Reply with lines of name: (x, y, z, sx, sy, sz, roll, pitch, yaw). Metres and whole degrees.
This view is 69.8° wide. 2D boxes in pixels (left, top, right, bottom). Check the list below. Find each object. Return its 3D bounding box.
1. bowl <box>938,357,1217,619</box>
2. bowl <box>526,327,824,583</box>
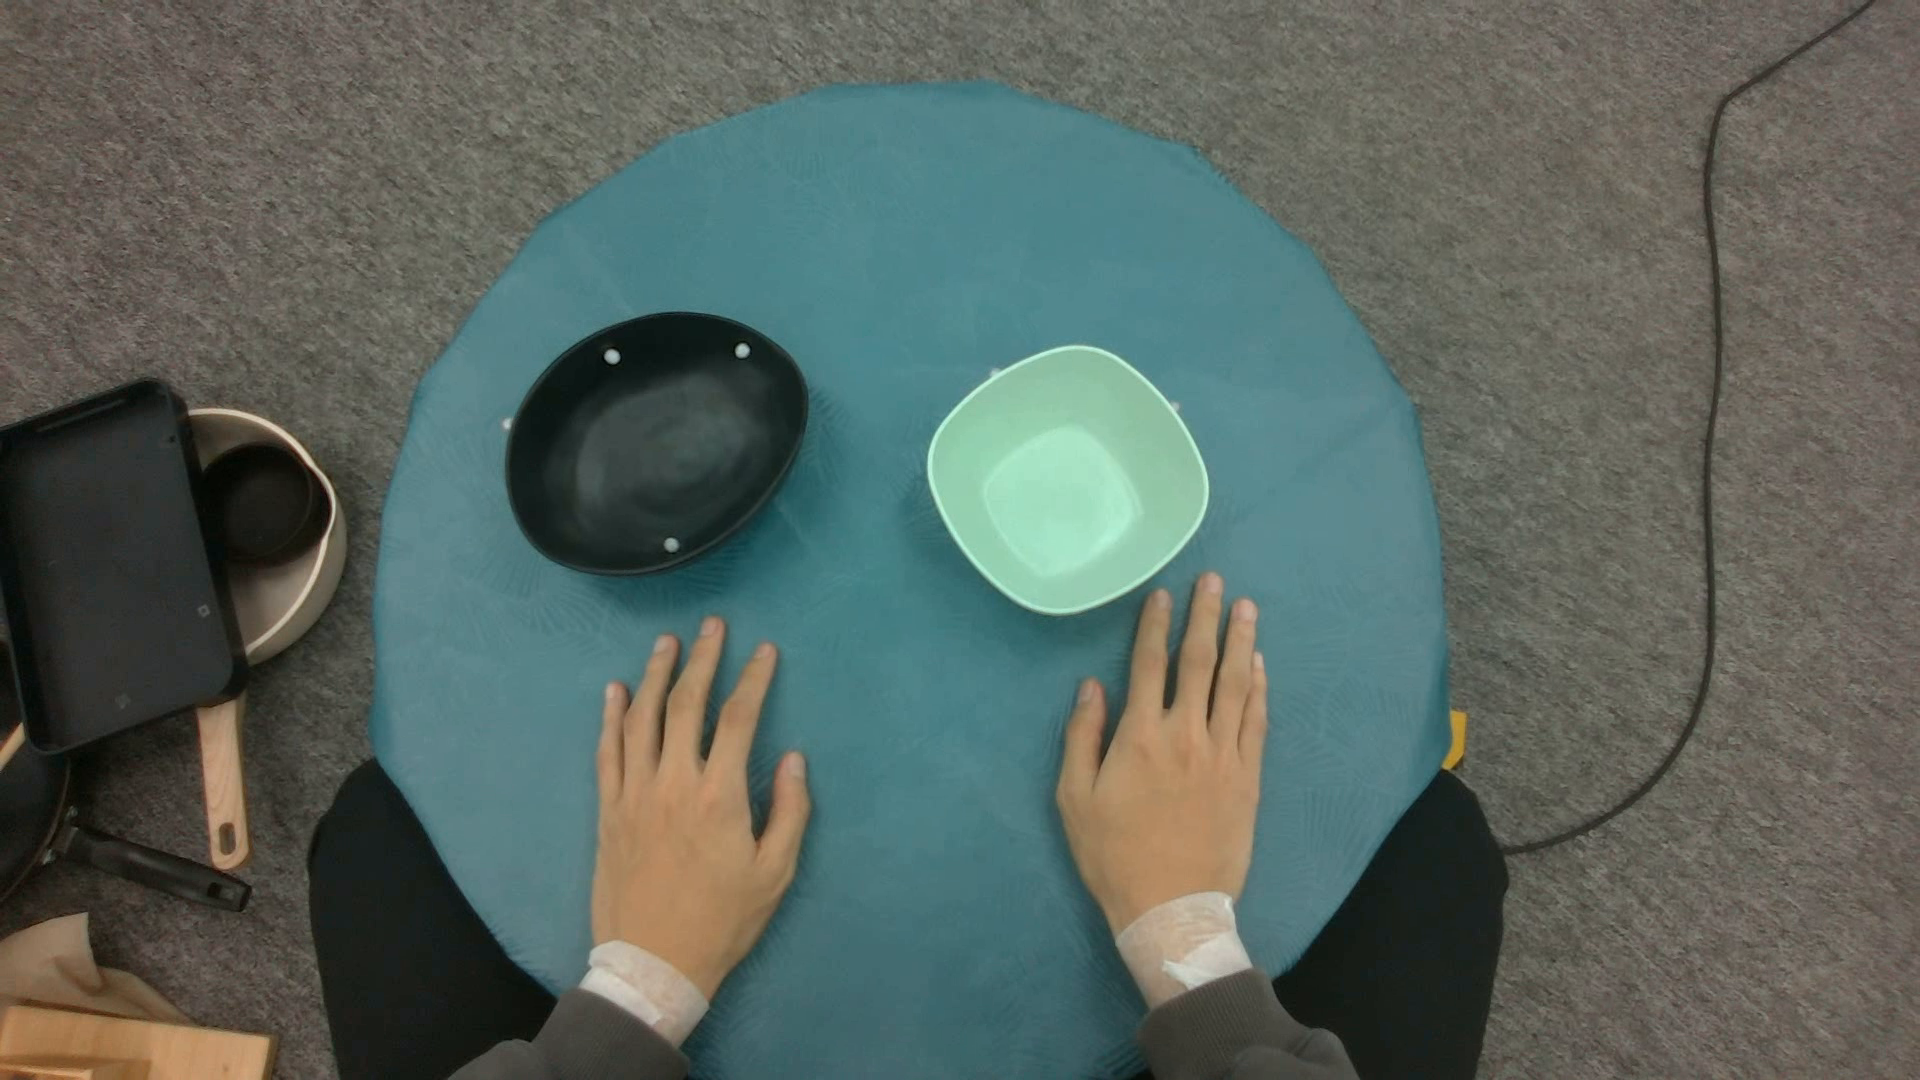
bowl: (0.064, -0.023, 0.767, 0.151, 0.058, 0.152, 0, 72, 1)
bowl: (-0.155, -0.043, 0.773, 0.170, 0.066, 0.137, -37, 77, -11)
